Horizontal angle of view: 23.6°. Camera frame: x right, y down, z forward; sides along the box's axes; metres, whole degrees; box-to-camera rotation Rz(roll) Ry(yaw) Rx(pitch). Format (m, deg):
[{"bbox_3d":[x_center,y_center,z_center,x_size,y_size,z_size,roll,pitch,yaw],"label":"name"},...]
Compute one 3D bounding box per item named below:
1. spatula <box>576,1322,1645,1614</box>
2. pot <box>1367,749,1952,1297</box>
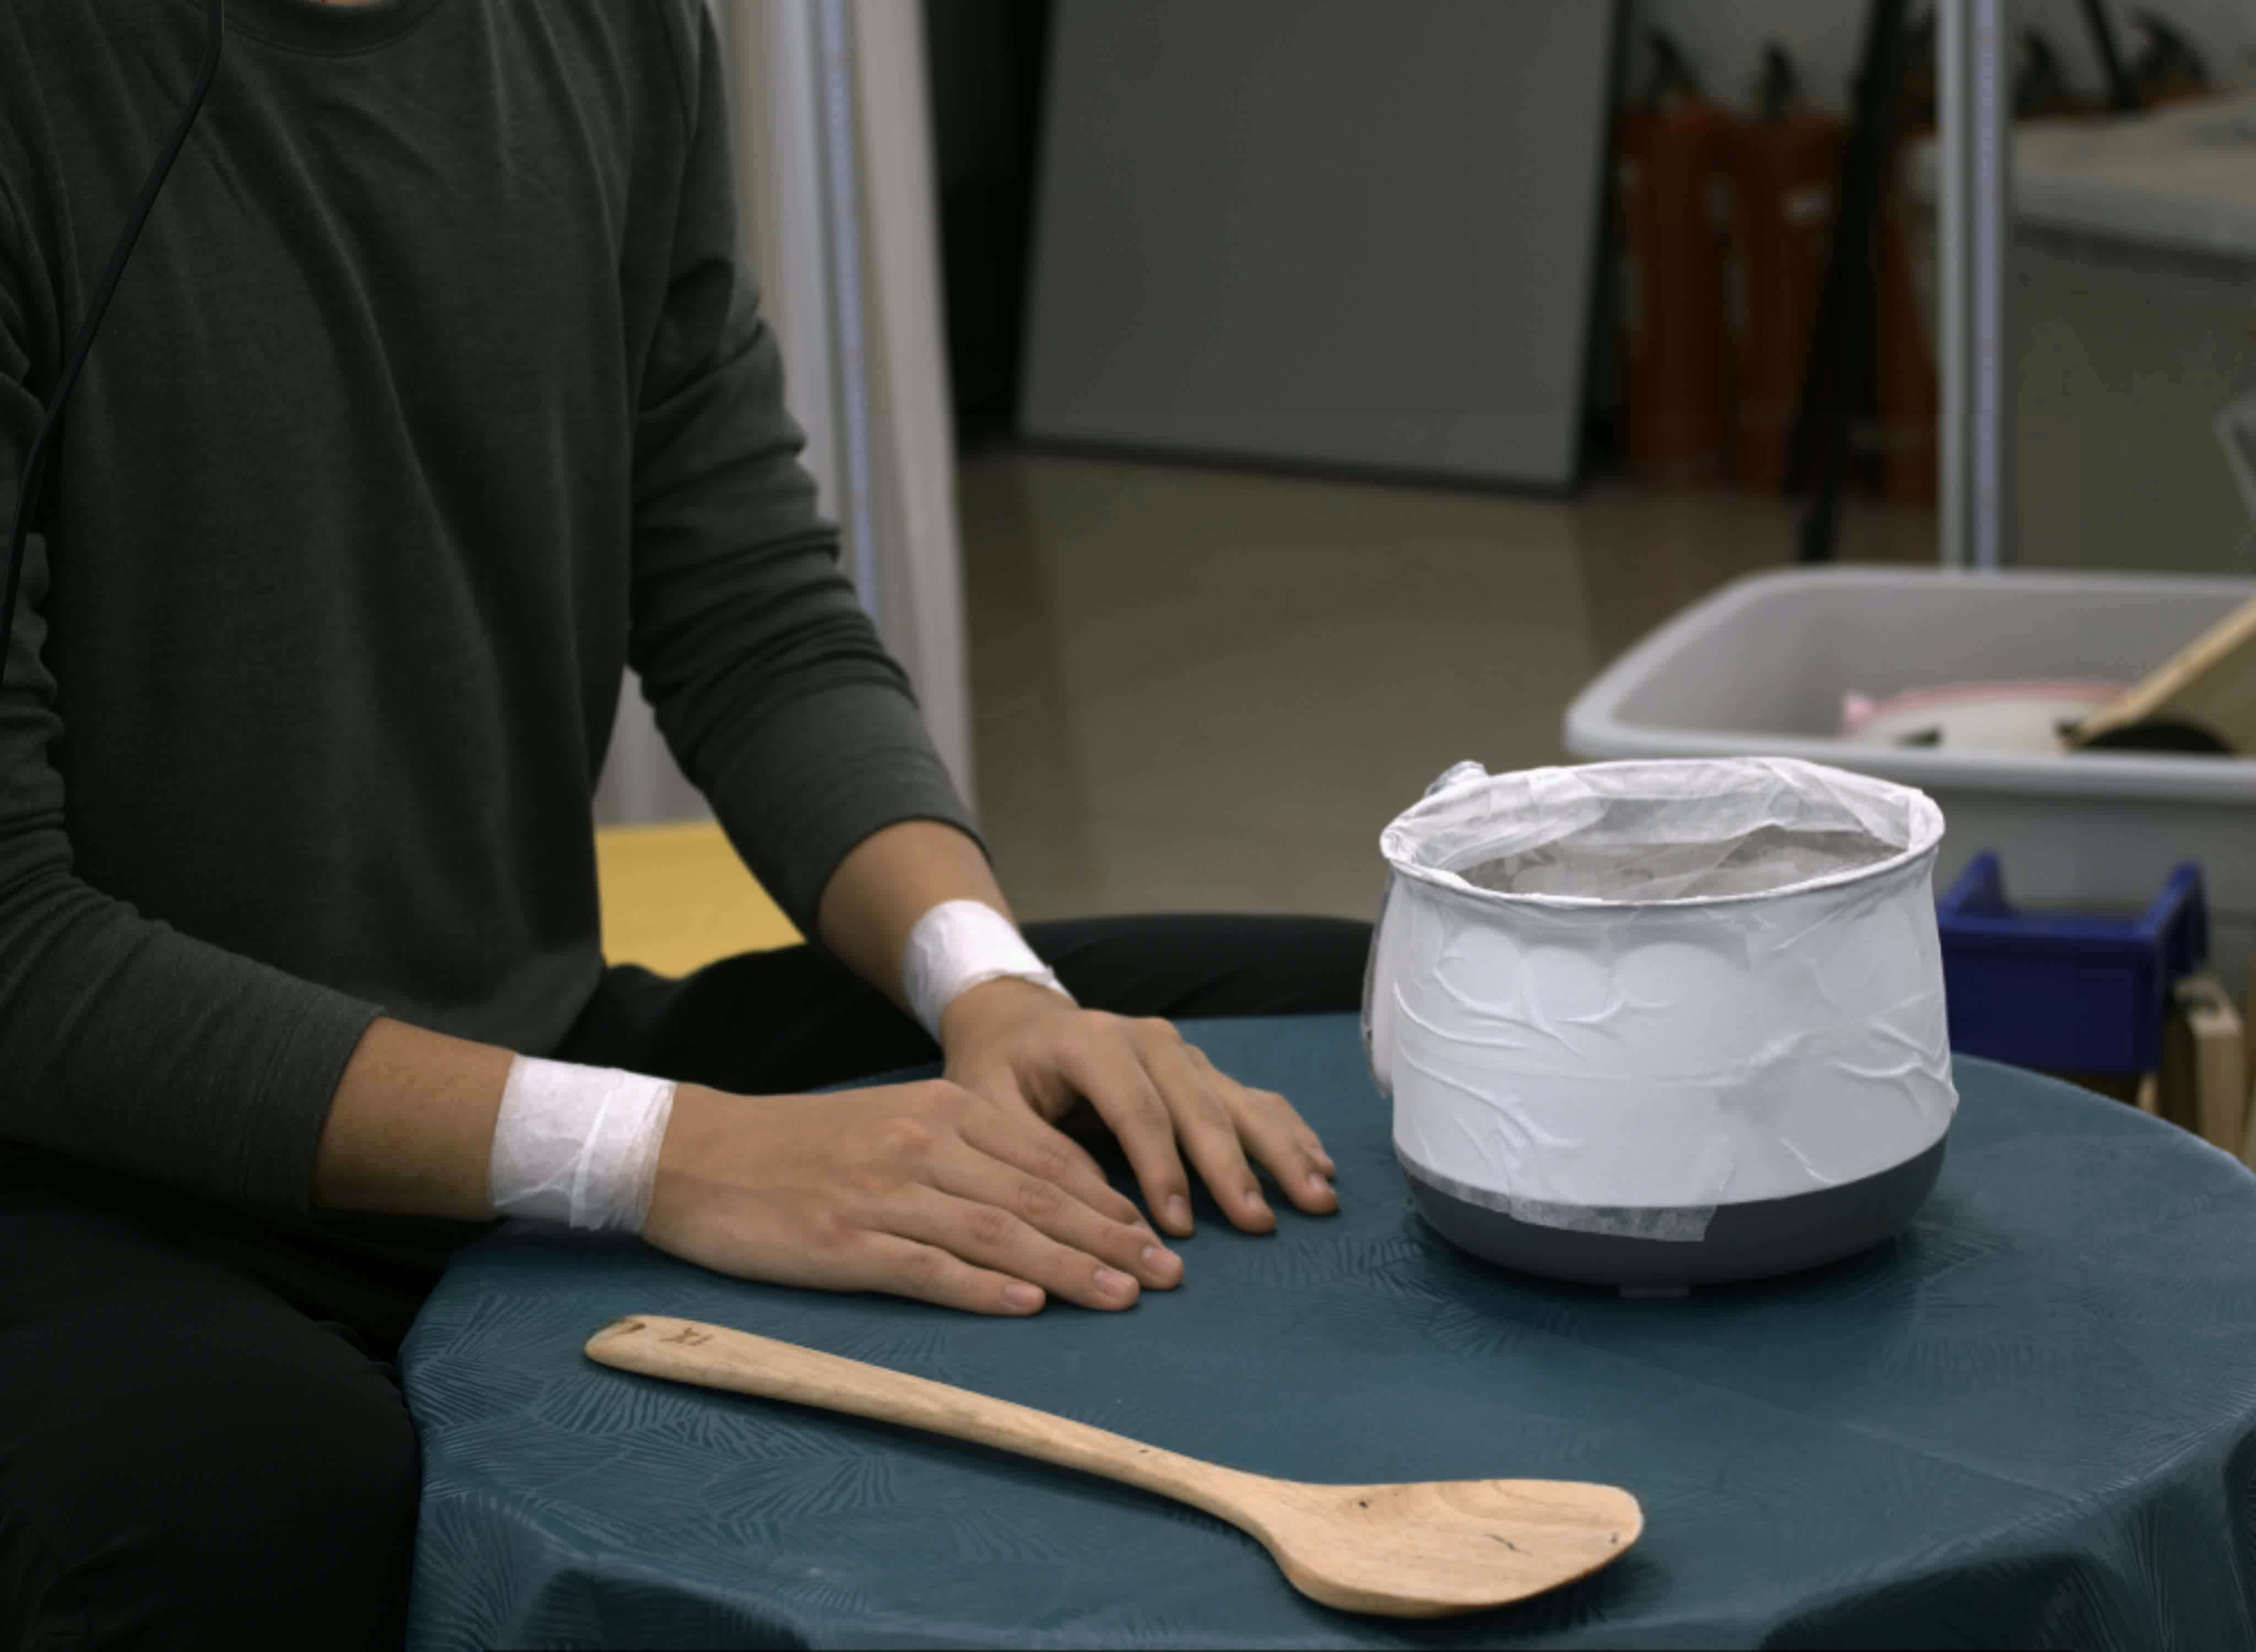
[{"bbox_3d":[-0.025,0.175,1.521,0.394,0.018,0.094,9,17,42],"label":"spatula"},{"bbox_3d":[0.153,0.056,1.707,0.175,0.138,0.236,-12,16,-33],"label":"pot"}]
